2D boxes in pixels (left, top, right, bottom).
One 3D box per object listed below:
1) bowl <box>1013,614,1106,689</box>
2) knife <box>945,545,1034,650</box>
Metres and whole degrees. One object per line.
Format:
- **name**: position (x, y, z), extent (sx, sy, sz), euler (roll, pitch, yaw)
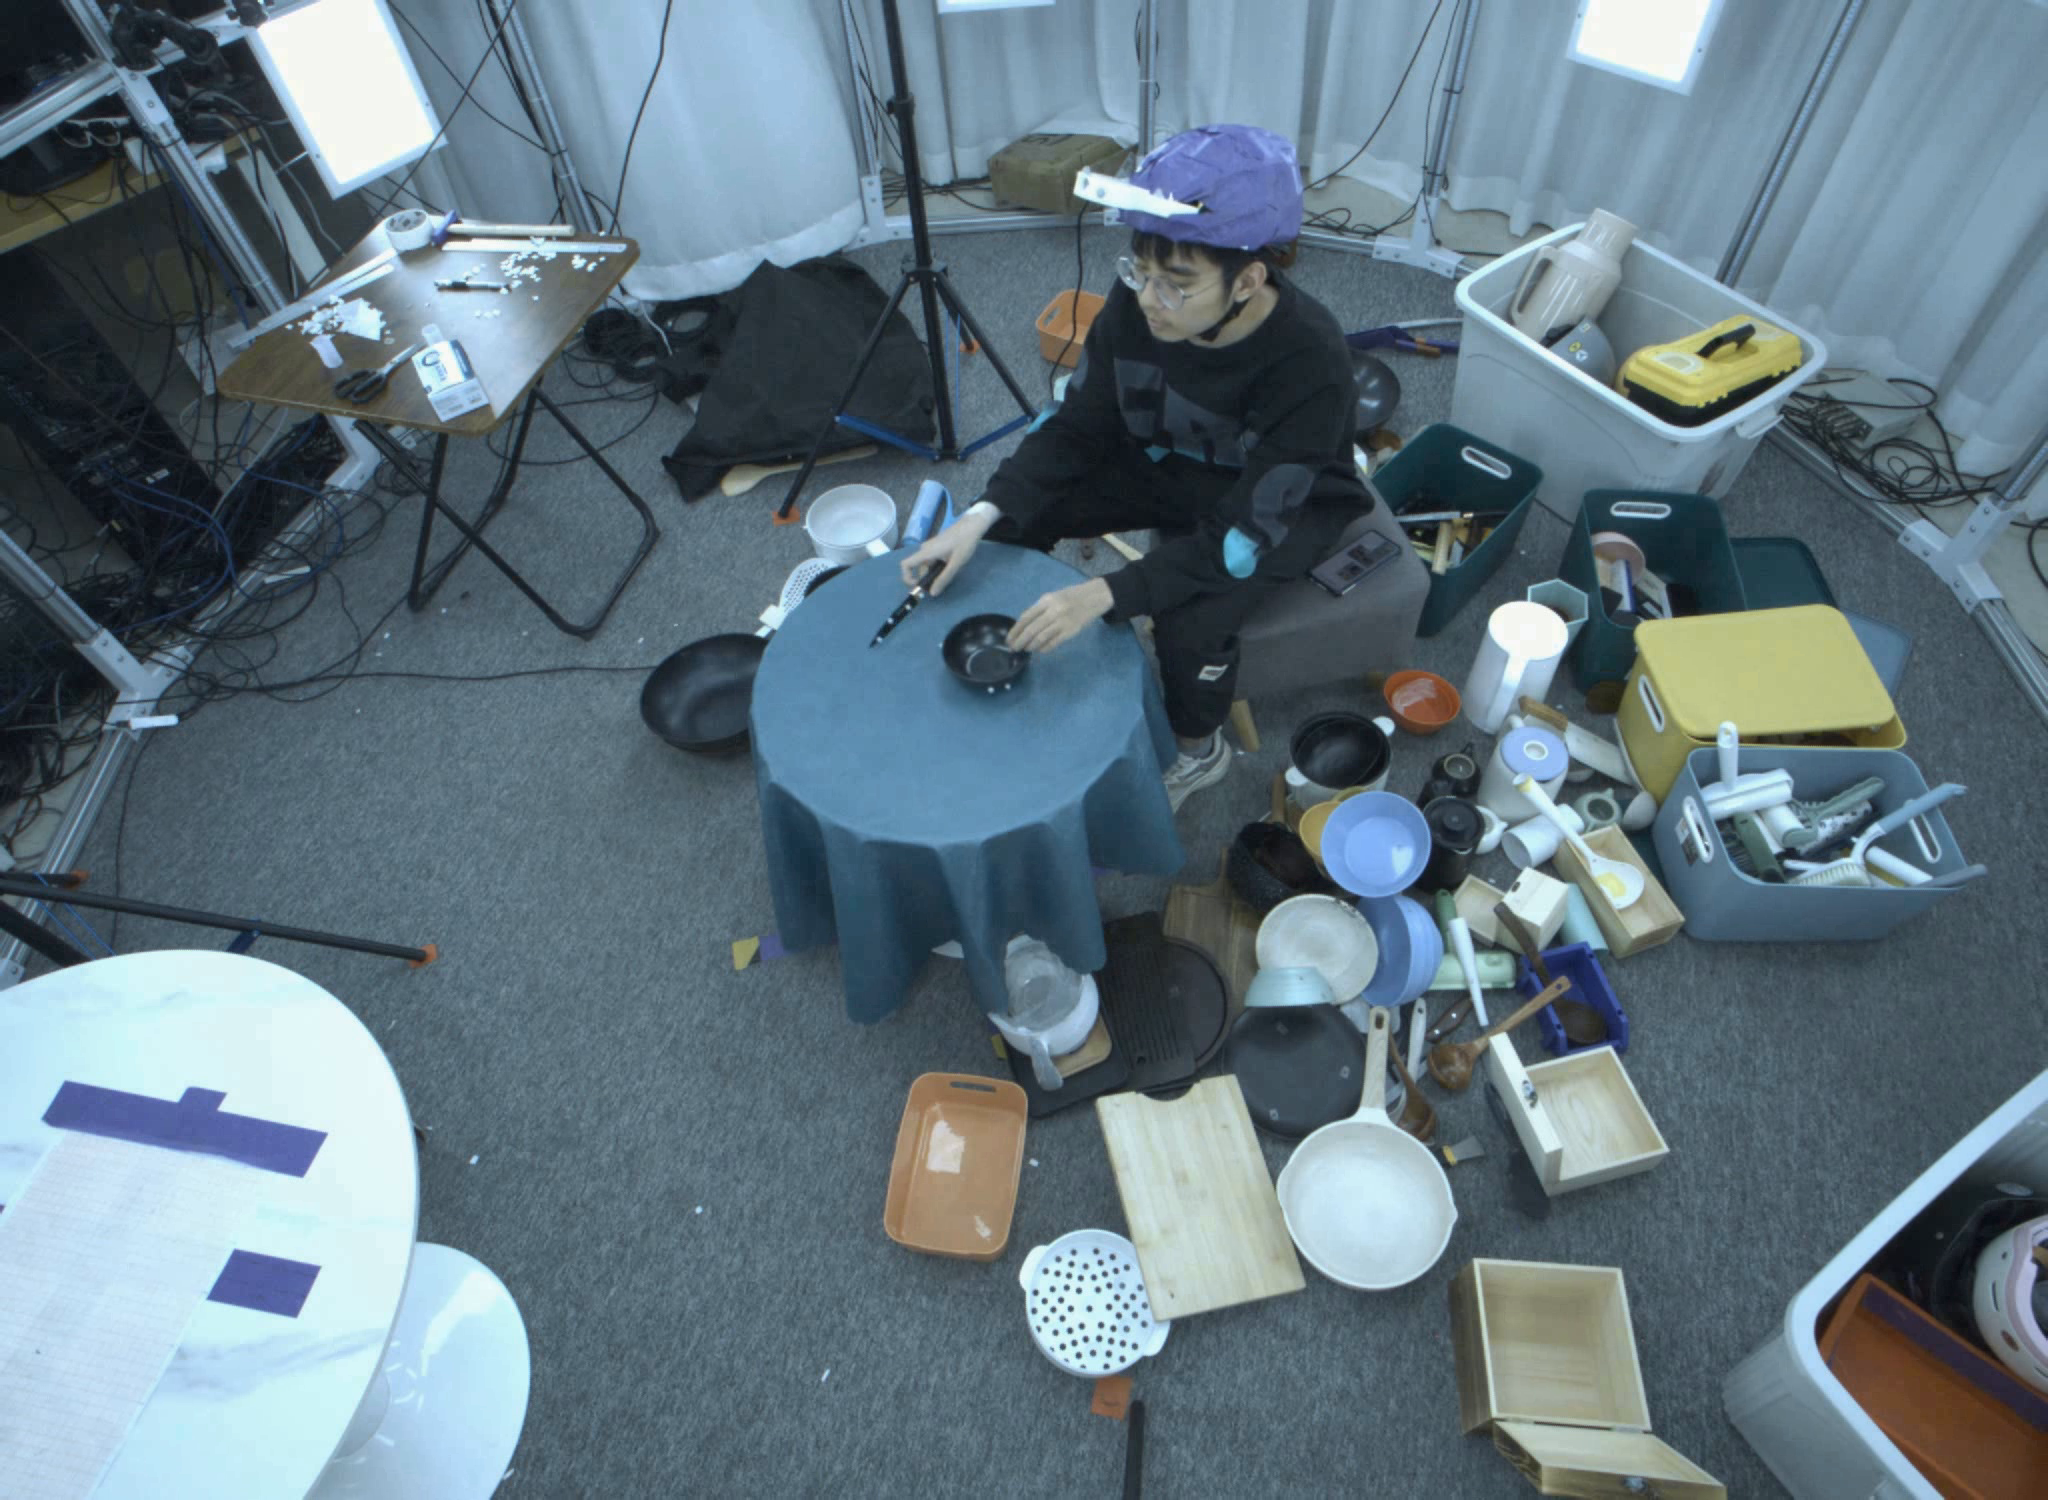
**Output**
- **bowl**: position (0.054, -0.140, 1.857), extent (0.140, 0.050, 0.138), euler (0, 51, 1)
- **knife**: position (-0.056, -0.242, 1.932), extent (0.017, 0.027, 0.226), euler (20, 63, 46)
